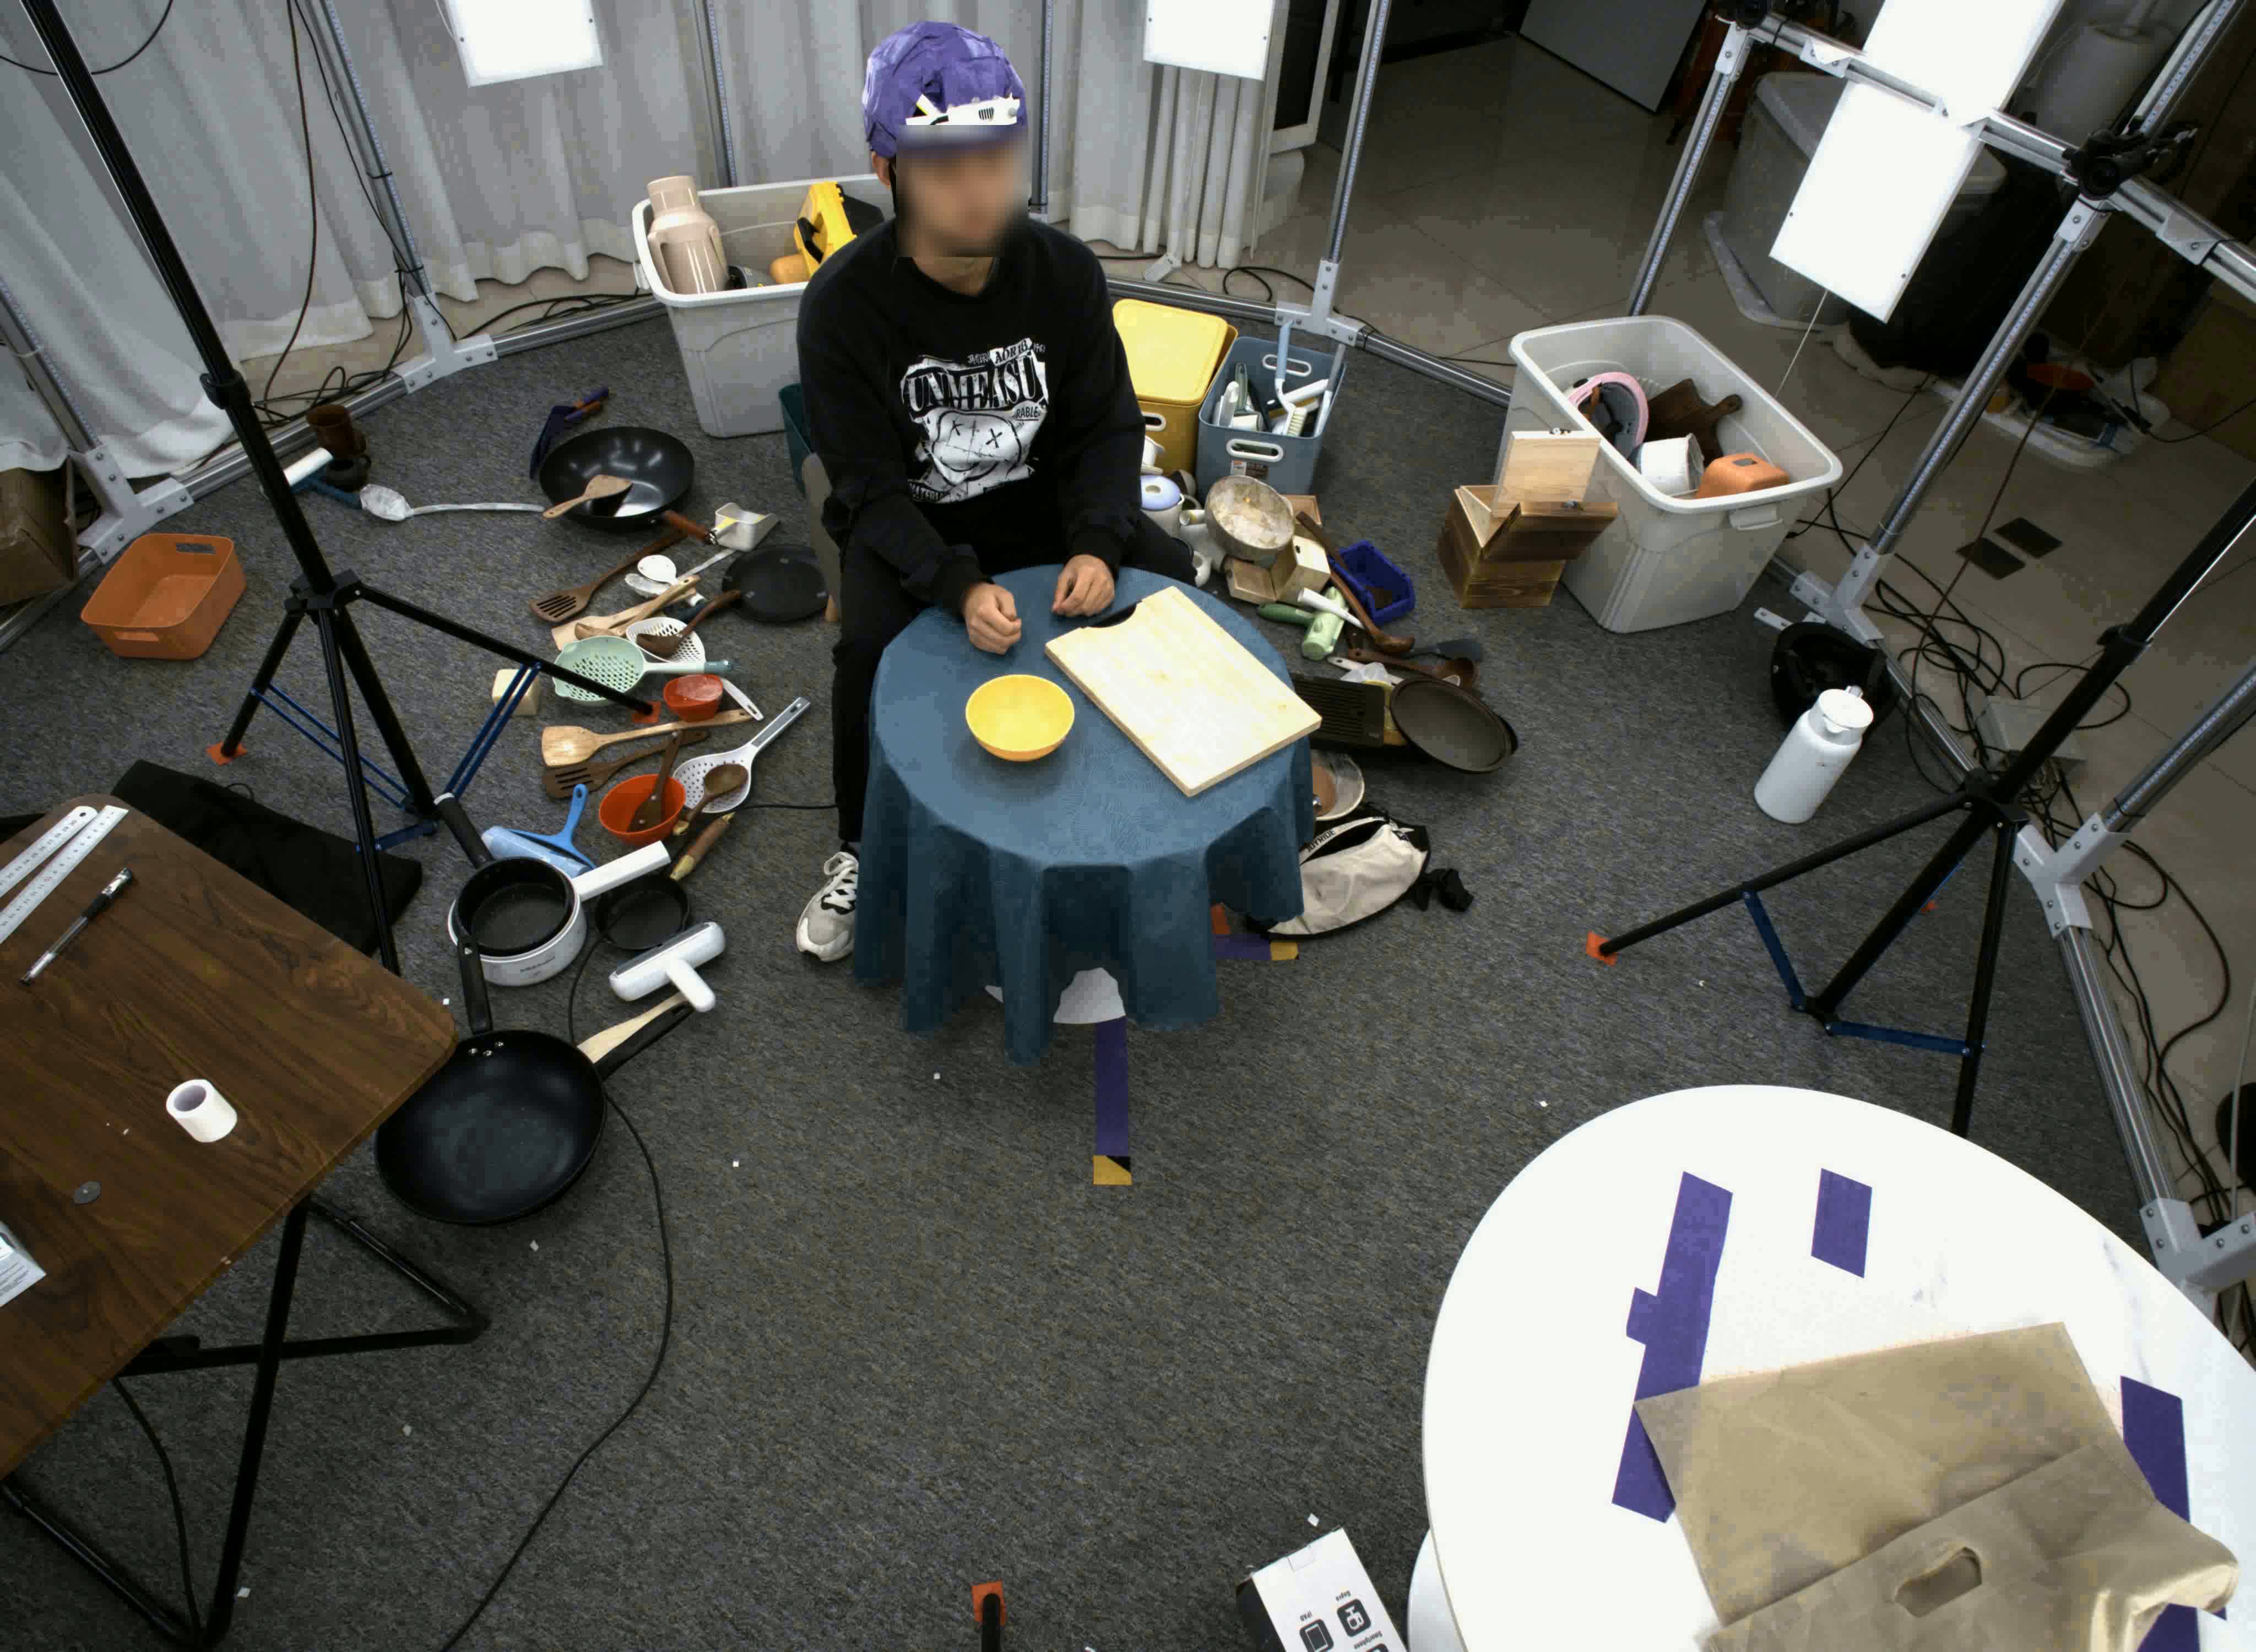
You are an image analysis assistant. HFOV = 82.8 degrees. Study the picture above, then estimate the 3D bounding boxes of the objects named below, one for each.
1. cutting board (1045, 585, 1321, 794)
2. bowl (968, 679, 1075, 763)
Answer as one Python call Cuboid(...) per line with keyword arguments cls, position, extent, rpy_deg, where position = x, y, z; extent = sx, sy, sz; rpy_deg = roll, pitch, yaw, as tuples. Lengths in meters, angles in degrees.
Cuboid(cls="cutting board", position=(0.075, -0.206, 1.858), extent=(0.252, 0.023, 0.355), rpy_deg=(-28, 56, -26))
Cuboid(cls="bowl", position=(-0.146, -0.132, 1.753), extent=(0.145, 0.058, 0.149), rpy_deg=(3, 47, -3))
